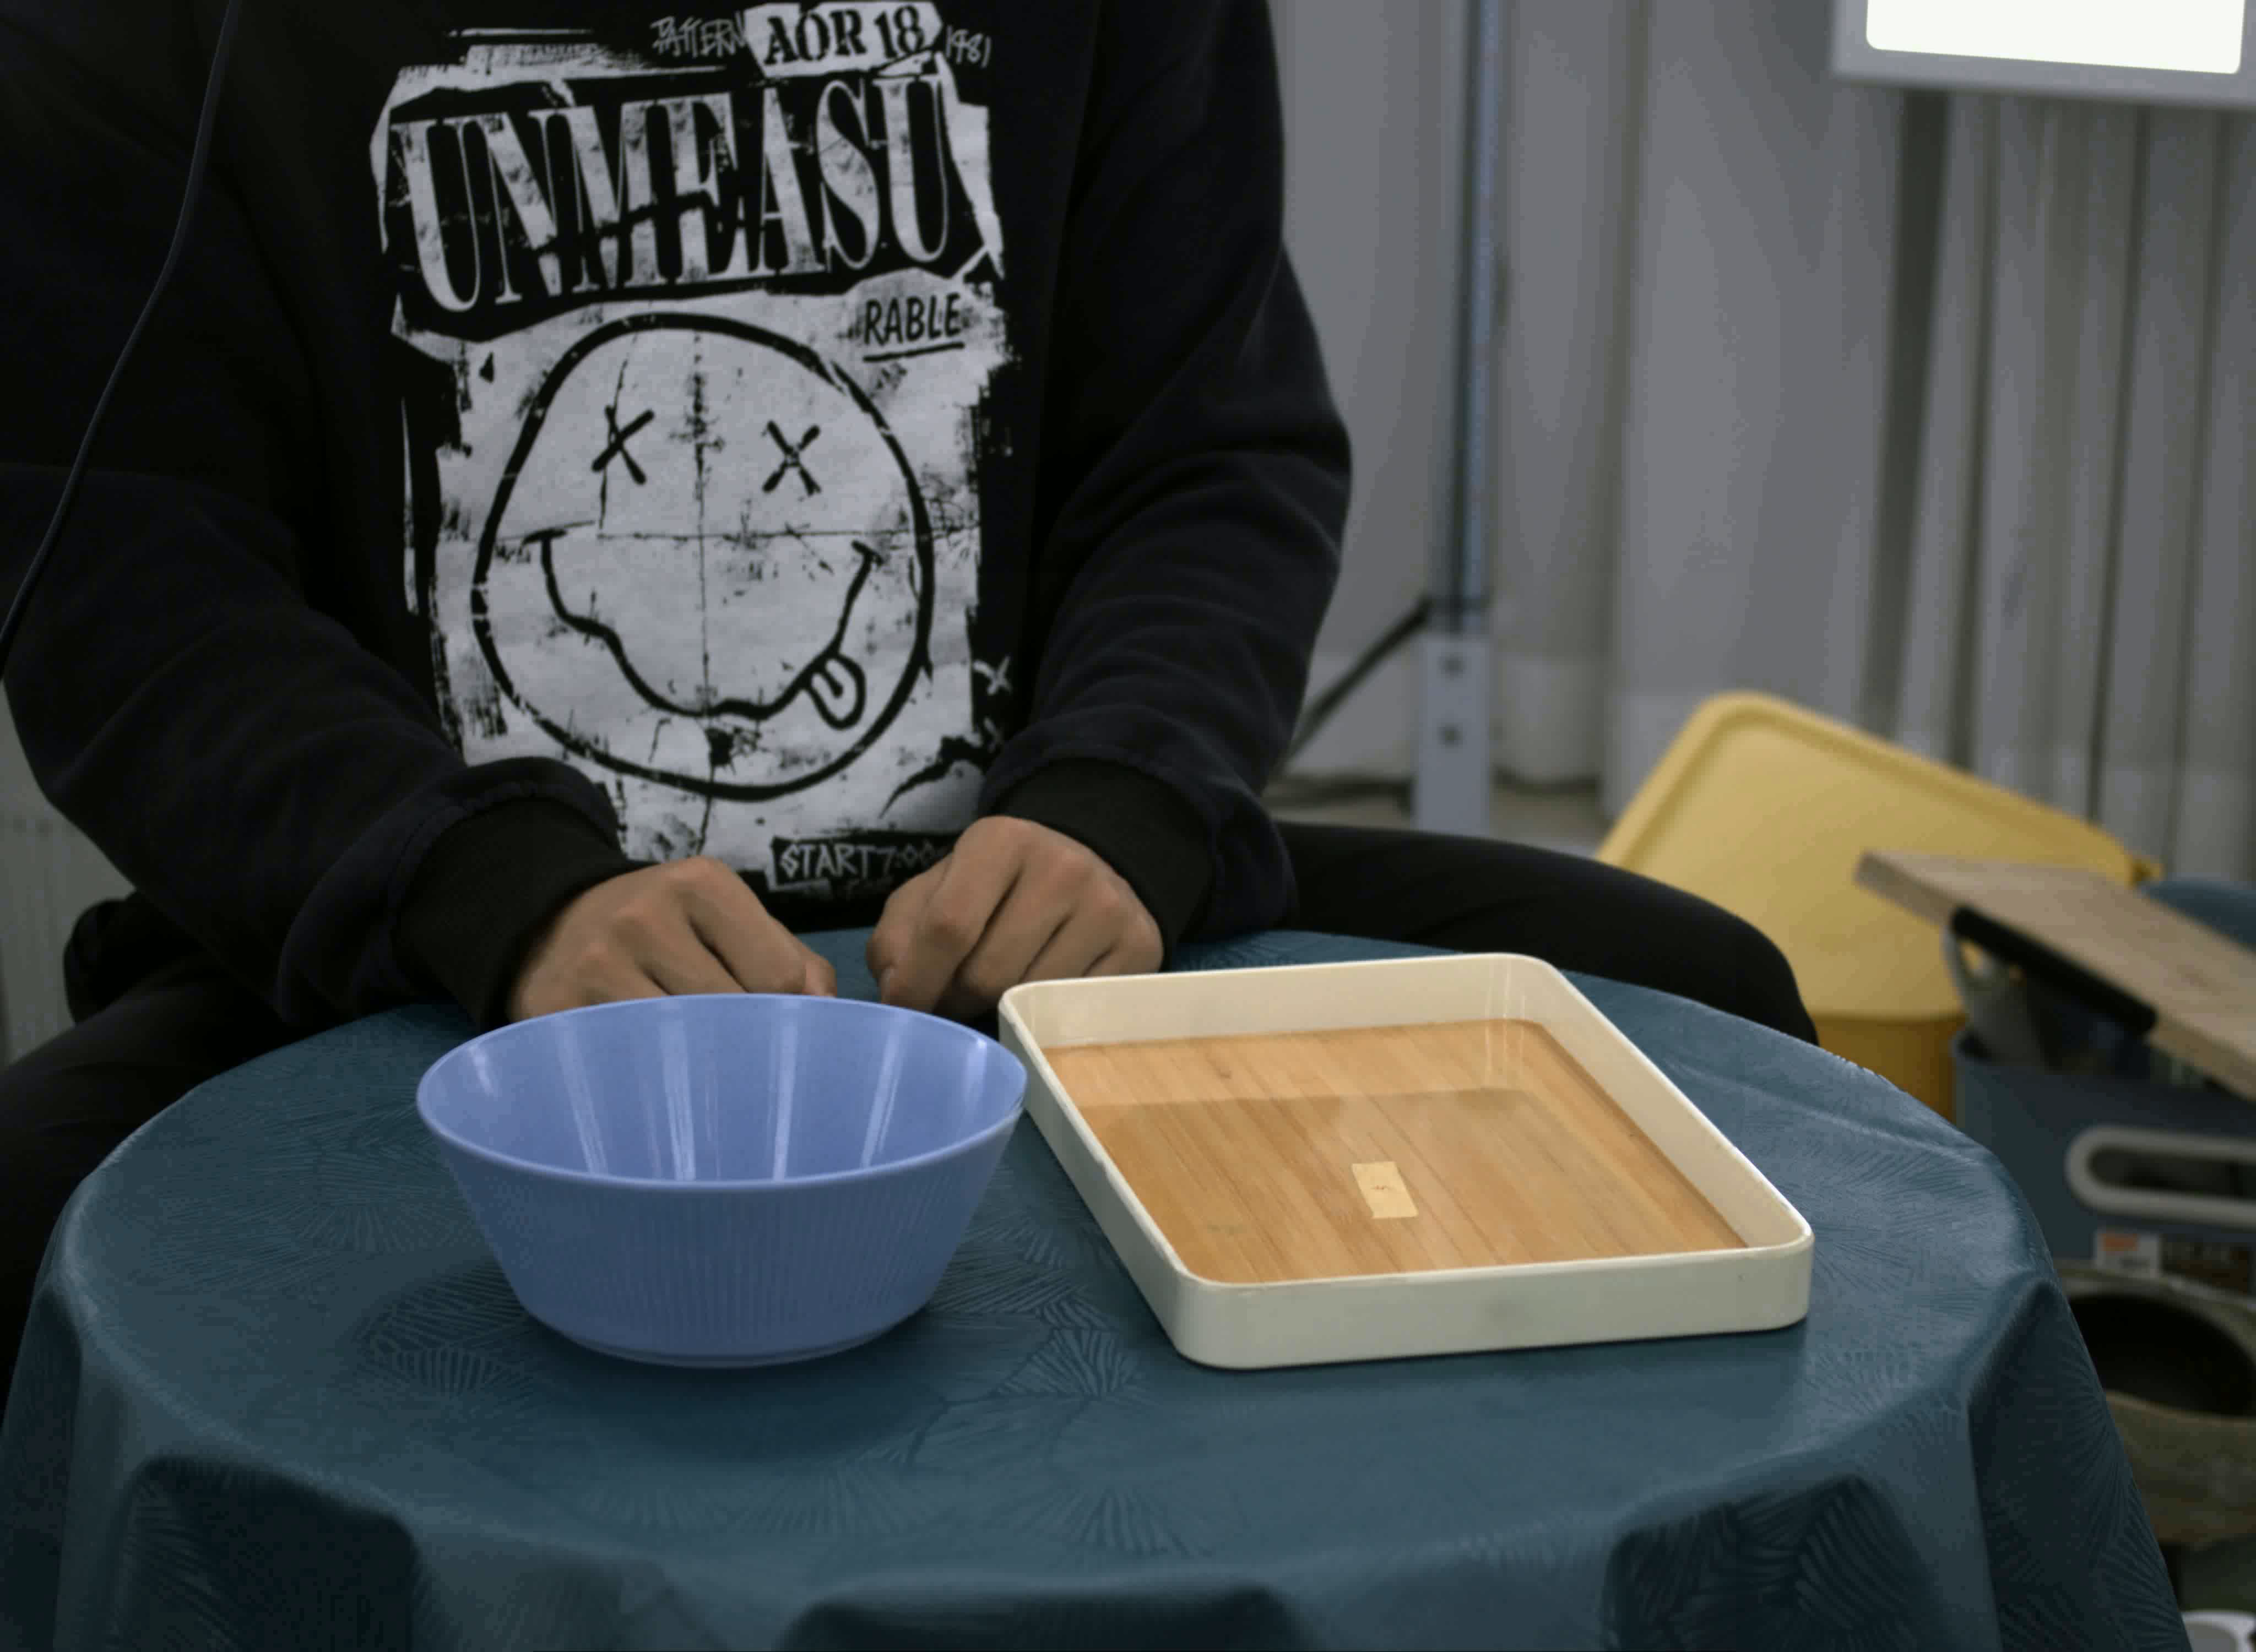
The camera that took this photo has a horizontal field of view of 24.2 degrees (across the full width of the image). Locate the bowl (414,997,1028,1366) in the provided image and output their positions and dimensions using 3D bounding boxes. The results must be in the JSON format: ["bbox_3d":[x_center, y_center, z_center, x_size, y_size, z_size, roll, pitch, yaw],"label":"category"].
[{"bbox_3d":[-0.117,0.105,1.518,0.175,0.071,0.175,2,16,0],"label":"bowl"}]

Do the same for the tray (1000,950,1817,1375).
[{"bbox_3d":[0.078,0.099,1.630,0.192,0.027,0.297,-3,17,-12],"label":"tray"}]
